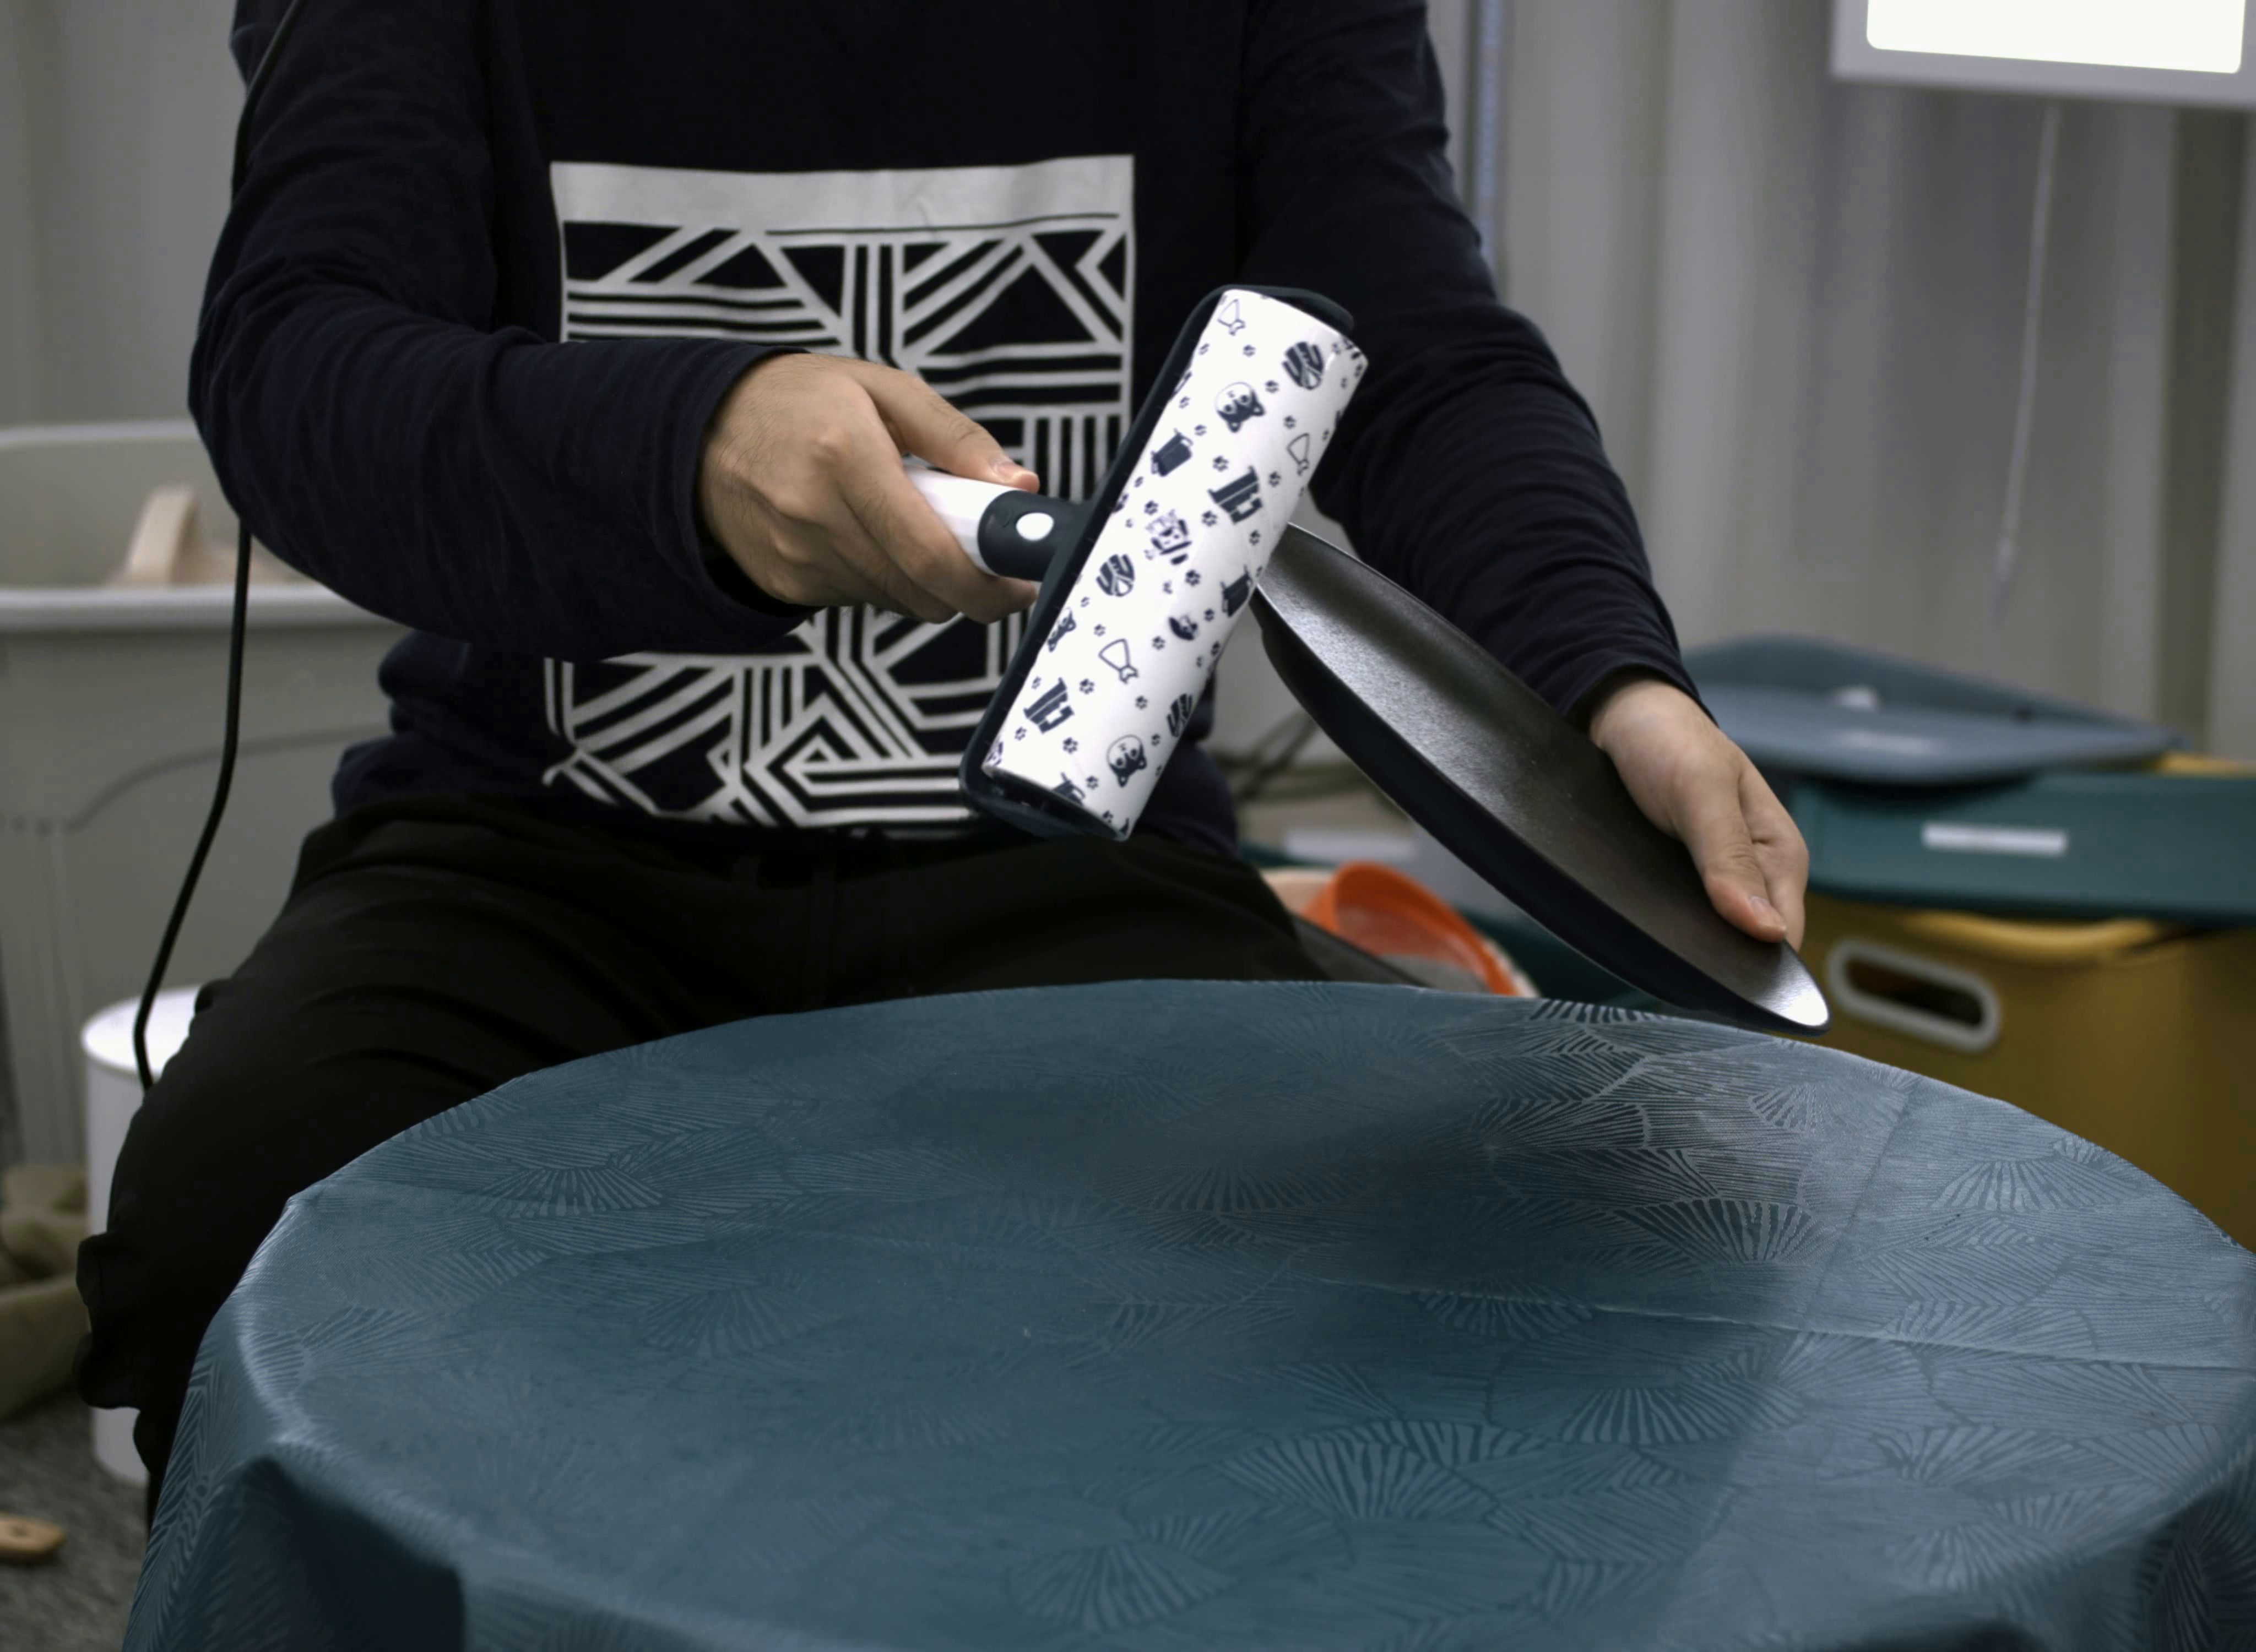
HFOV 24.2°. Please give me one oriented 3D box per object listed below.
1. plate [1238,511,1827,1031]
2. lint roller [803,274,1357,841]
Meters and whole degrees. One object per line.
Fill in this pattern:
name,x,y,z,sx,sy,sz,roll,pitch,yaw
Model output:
plate,0.115,-0.013,1.616,0.245,0.023,0.243,38,12,-9
lint roller,-0.041,-0.091,1.613,0.051,0.176,0.244,31,-9,-33
